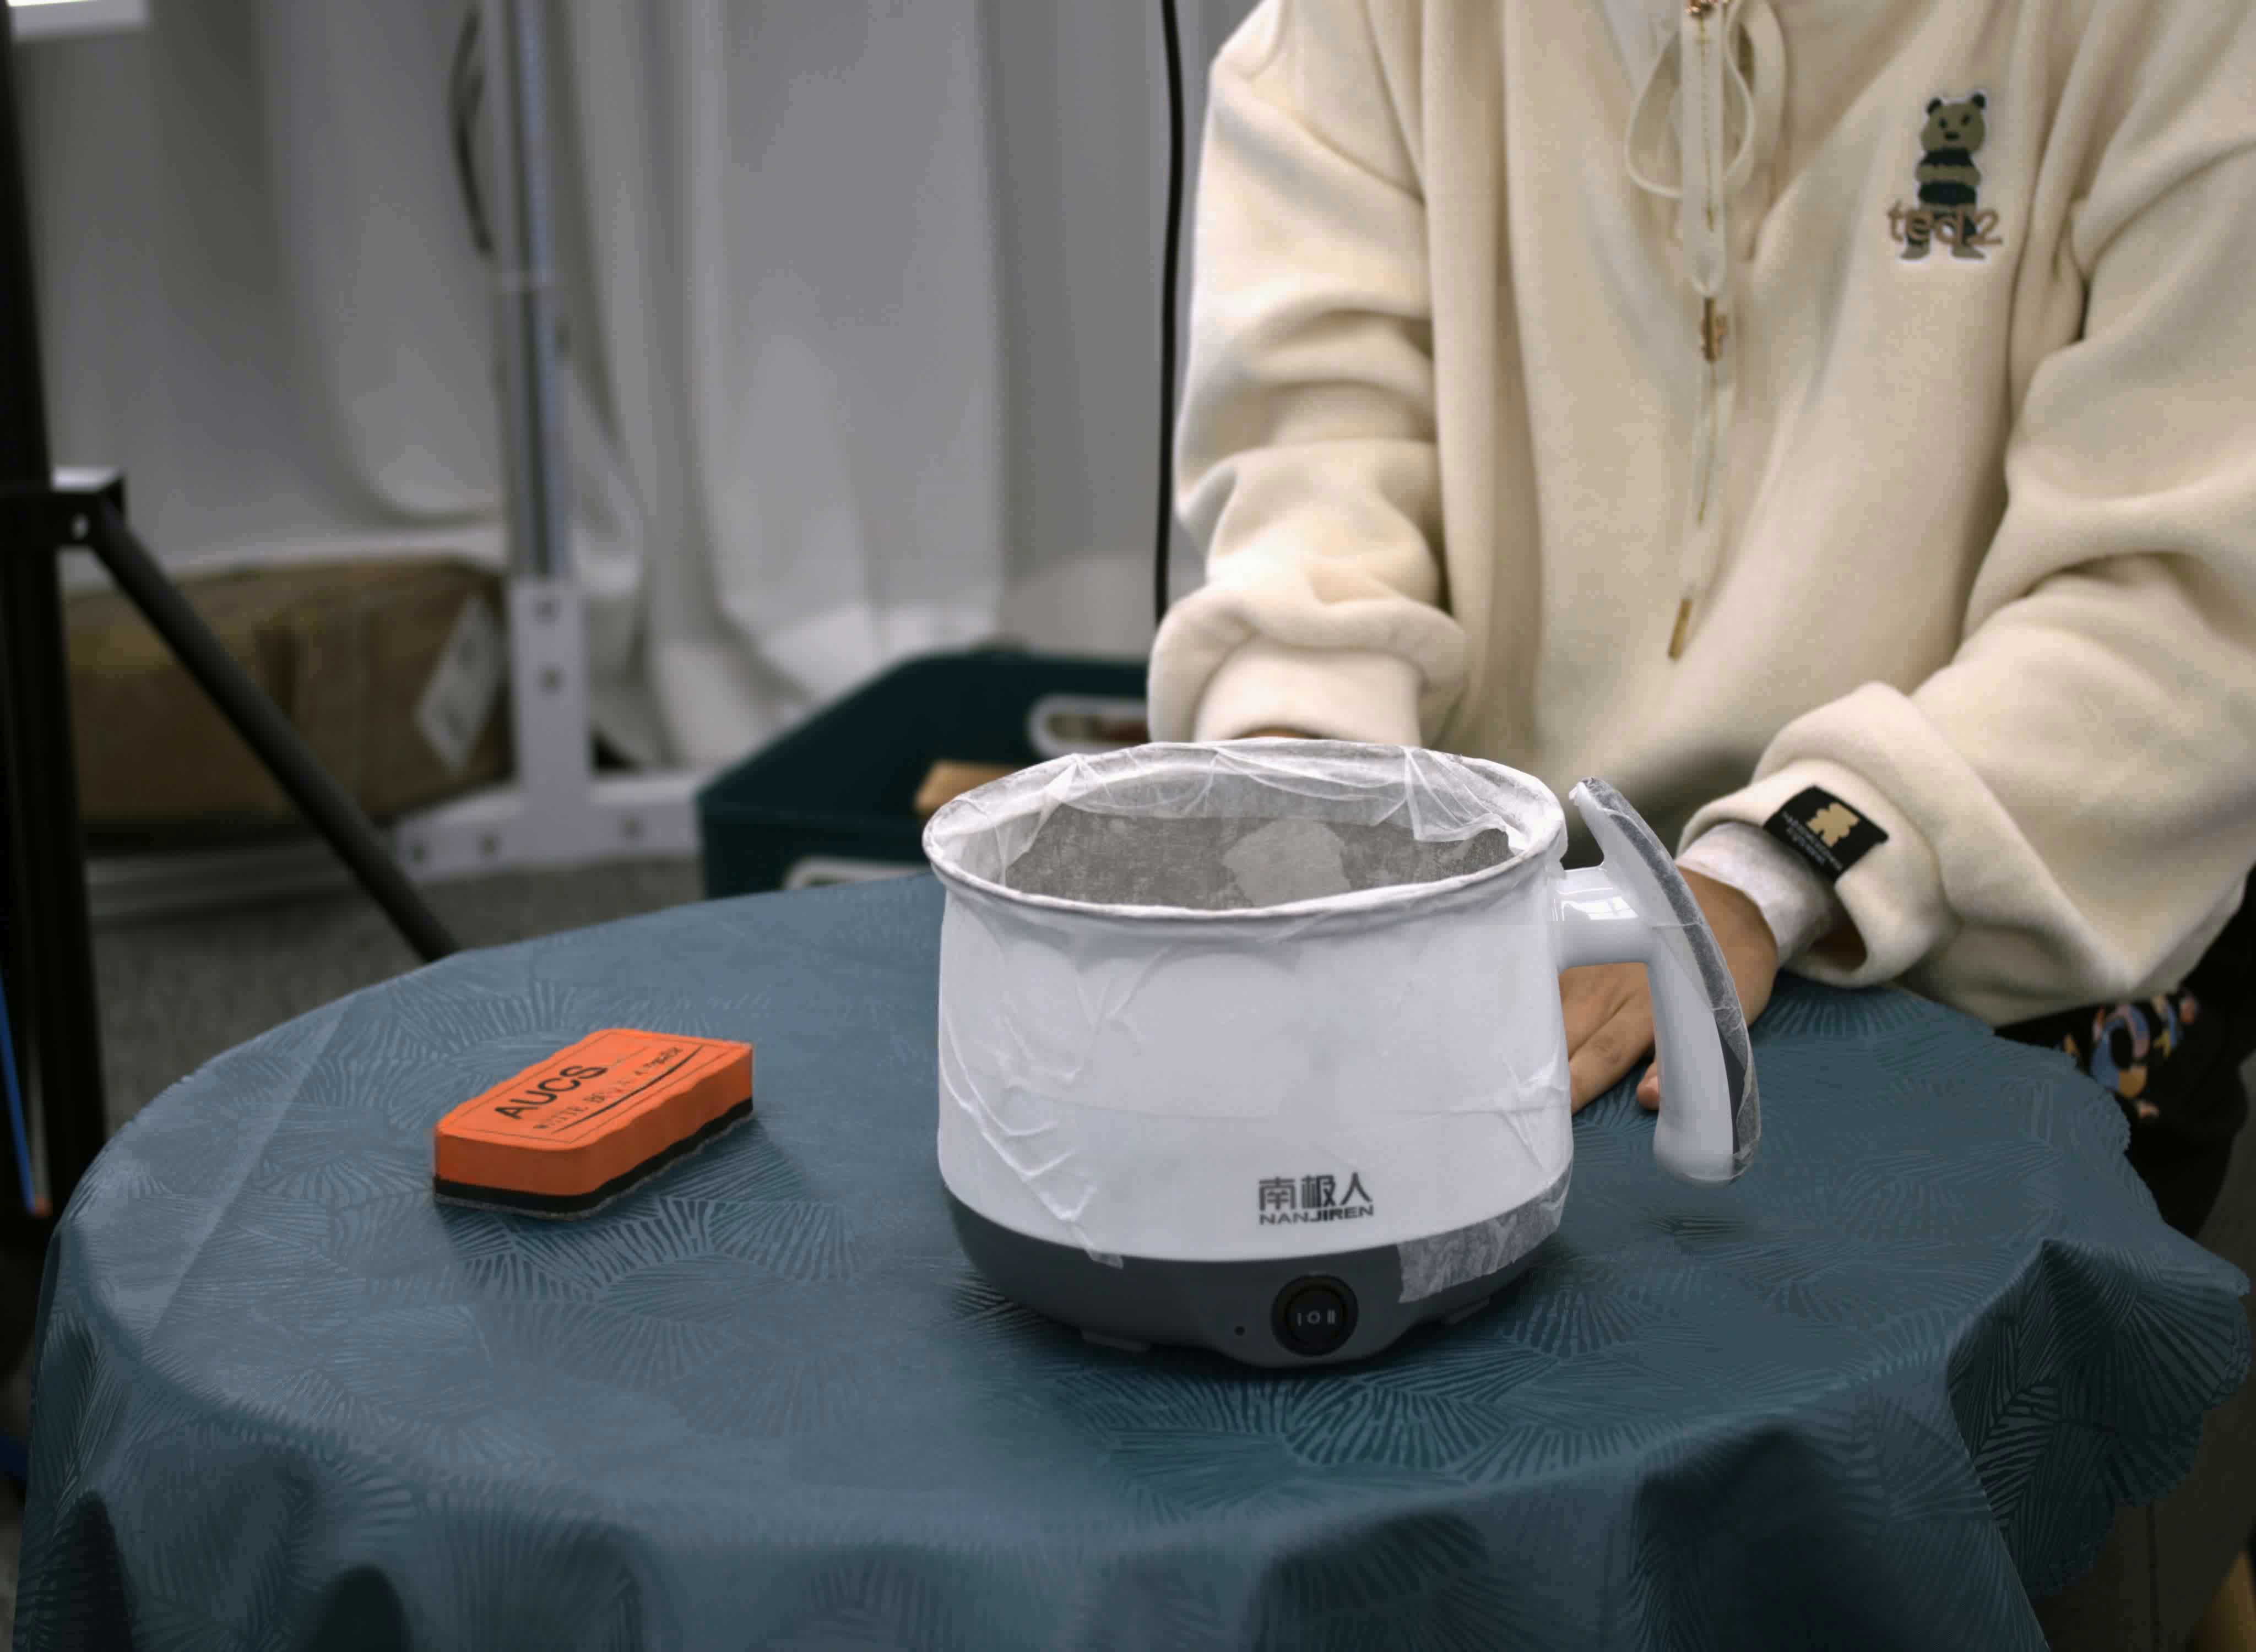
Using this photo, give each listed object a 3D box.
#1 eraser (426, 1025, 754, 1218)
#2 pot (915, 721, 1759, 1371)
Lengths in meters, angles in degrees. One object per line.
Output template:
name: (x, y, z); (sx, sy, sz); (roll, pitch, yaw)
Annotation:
eraser: (-0.161, 0.088, 1.609); (0.060, 0.023, 0.106); (9, 19, 27)
pot: (0.060, 0.055, 1.474); (0.231, 0.136, 0.181); (-6, 17, -8)
